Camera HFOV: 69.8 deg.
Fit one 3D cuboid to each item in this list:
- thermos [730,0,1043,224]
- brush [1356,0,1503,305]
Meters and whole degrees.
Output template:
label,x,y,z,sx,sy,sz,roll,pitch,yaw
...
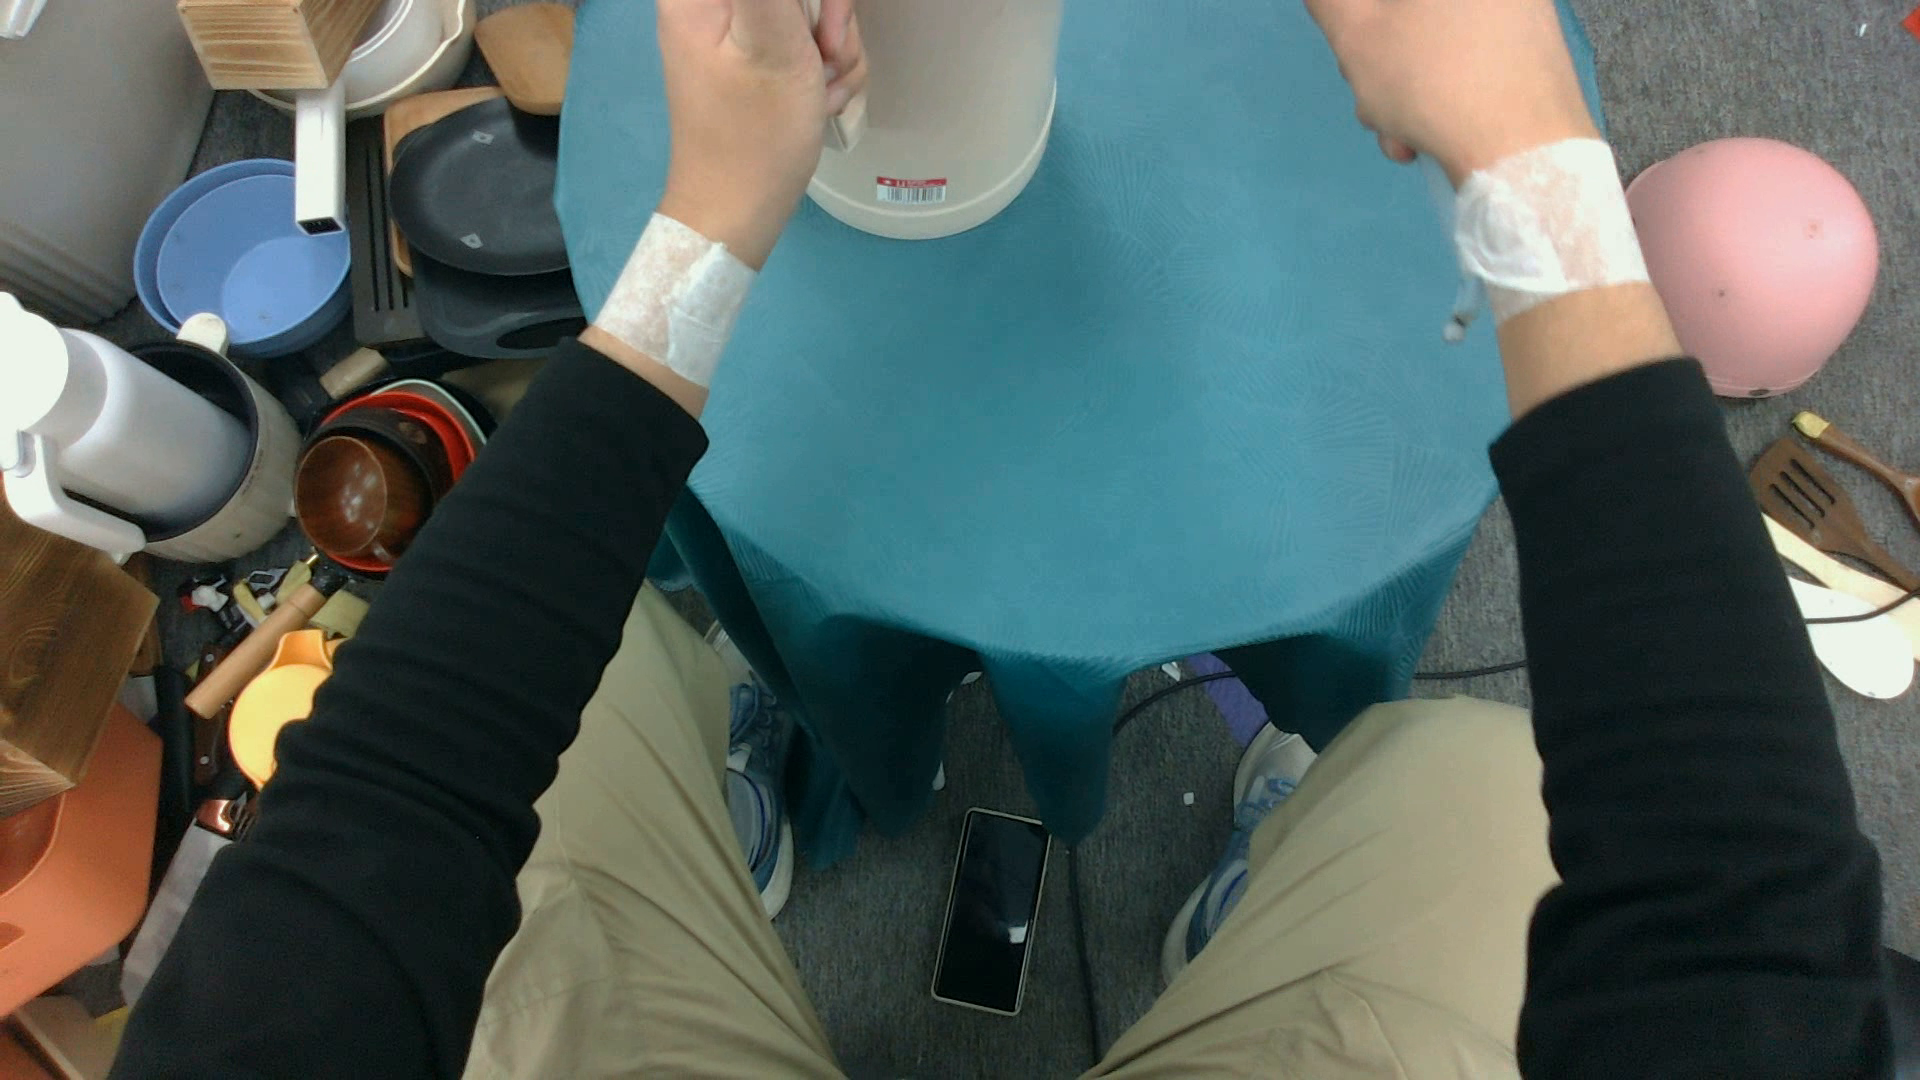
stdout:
label,x,y,z,sx,sy,sz,roll,pitch,yaw
thermos,-0.039,-0.281,0.590,0.175,0.405,0.207,21,78,2
brush,0.106,-0.232,0.517,0.083,0.084,0.325,-24,95,-39
